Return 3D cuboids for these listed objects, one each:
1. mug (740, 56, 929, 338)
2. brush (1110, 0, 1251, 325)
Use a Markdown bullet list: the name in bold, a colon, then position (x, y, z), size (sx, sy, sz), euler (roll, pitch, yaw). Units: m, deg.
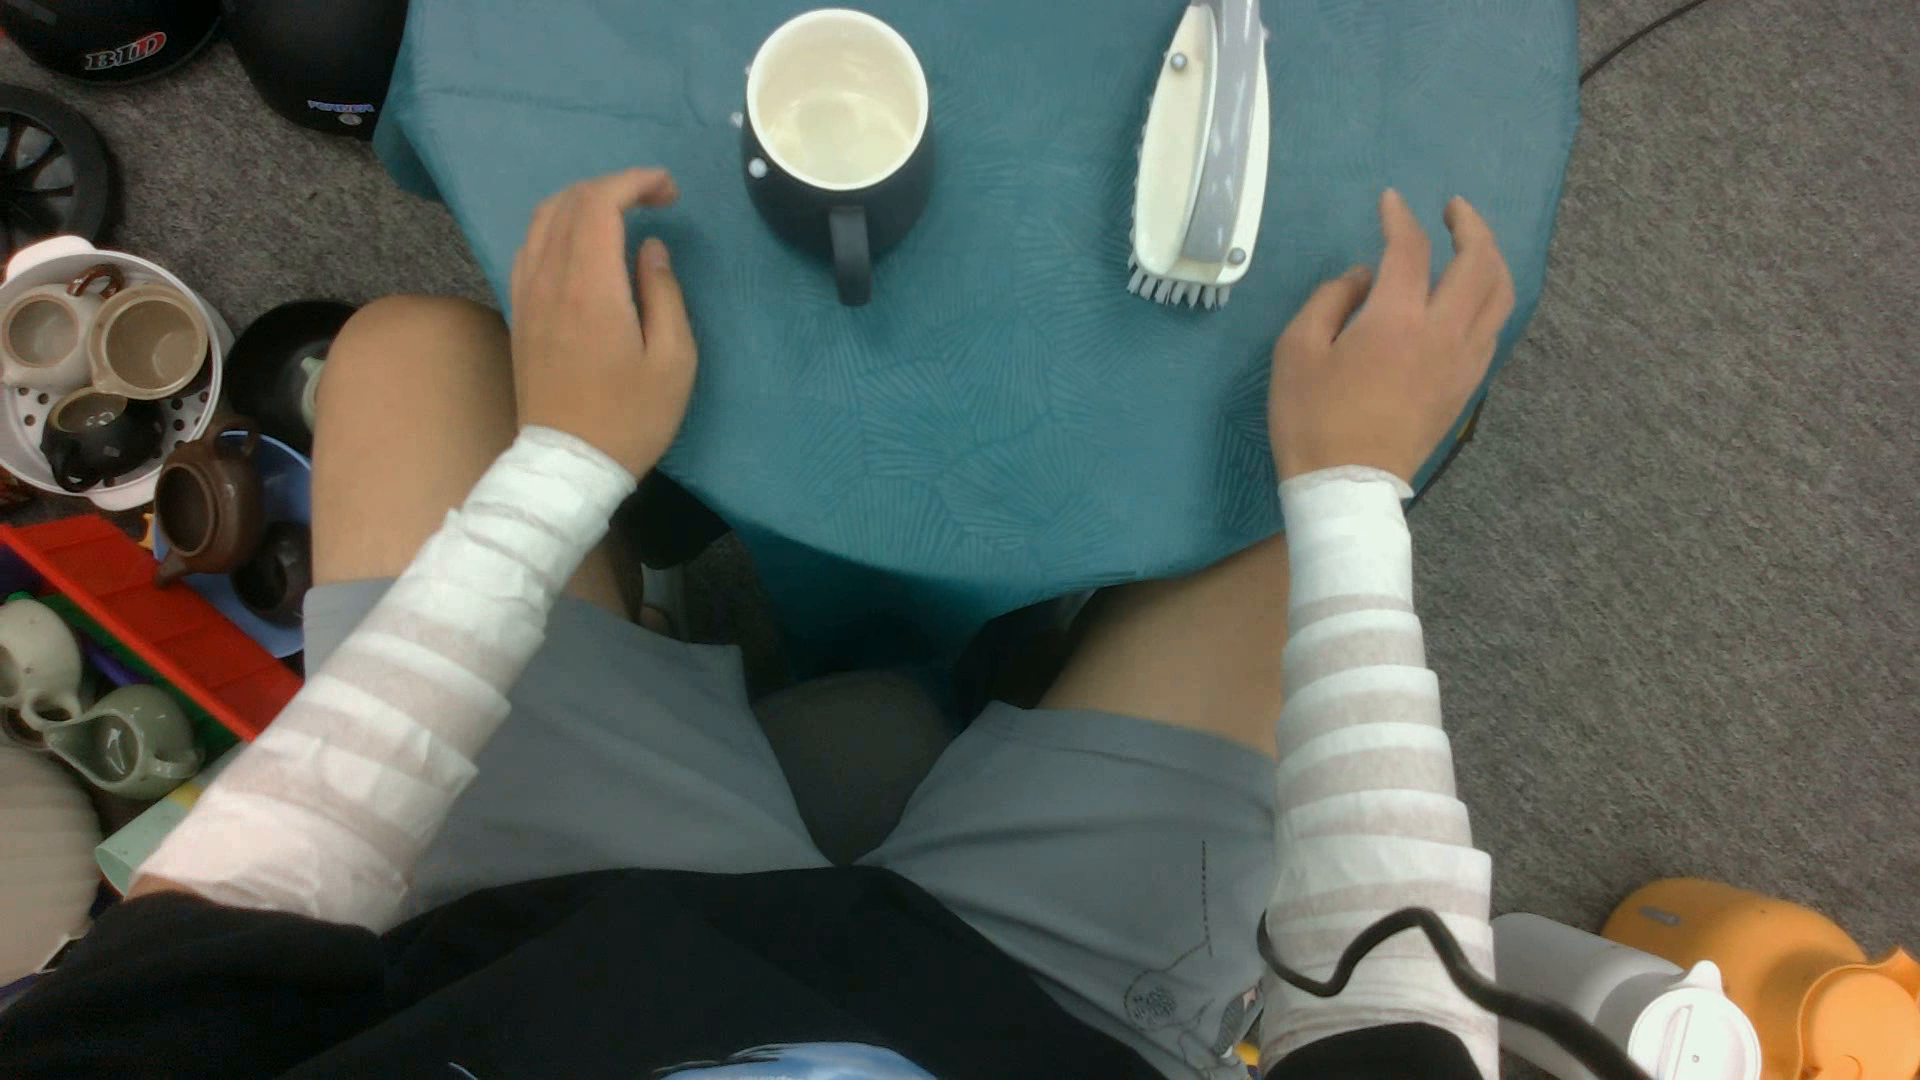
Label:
- **mug**: position (-0.058, -0.158, 0.657), size (0.093, 0.090, 0.123), euler (-6, 84, -6)
- **brush**: position (0.115, -0.202, 0.675), size (0.061, 0.094, 0.176), euler (8, 80, -7)
